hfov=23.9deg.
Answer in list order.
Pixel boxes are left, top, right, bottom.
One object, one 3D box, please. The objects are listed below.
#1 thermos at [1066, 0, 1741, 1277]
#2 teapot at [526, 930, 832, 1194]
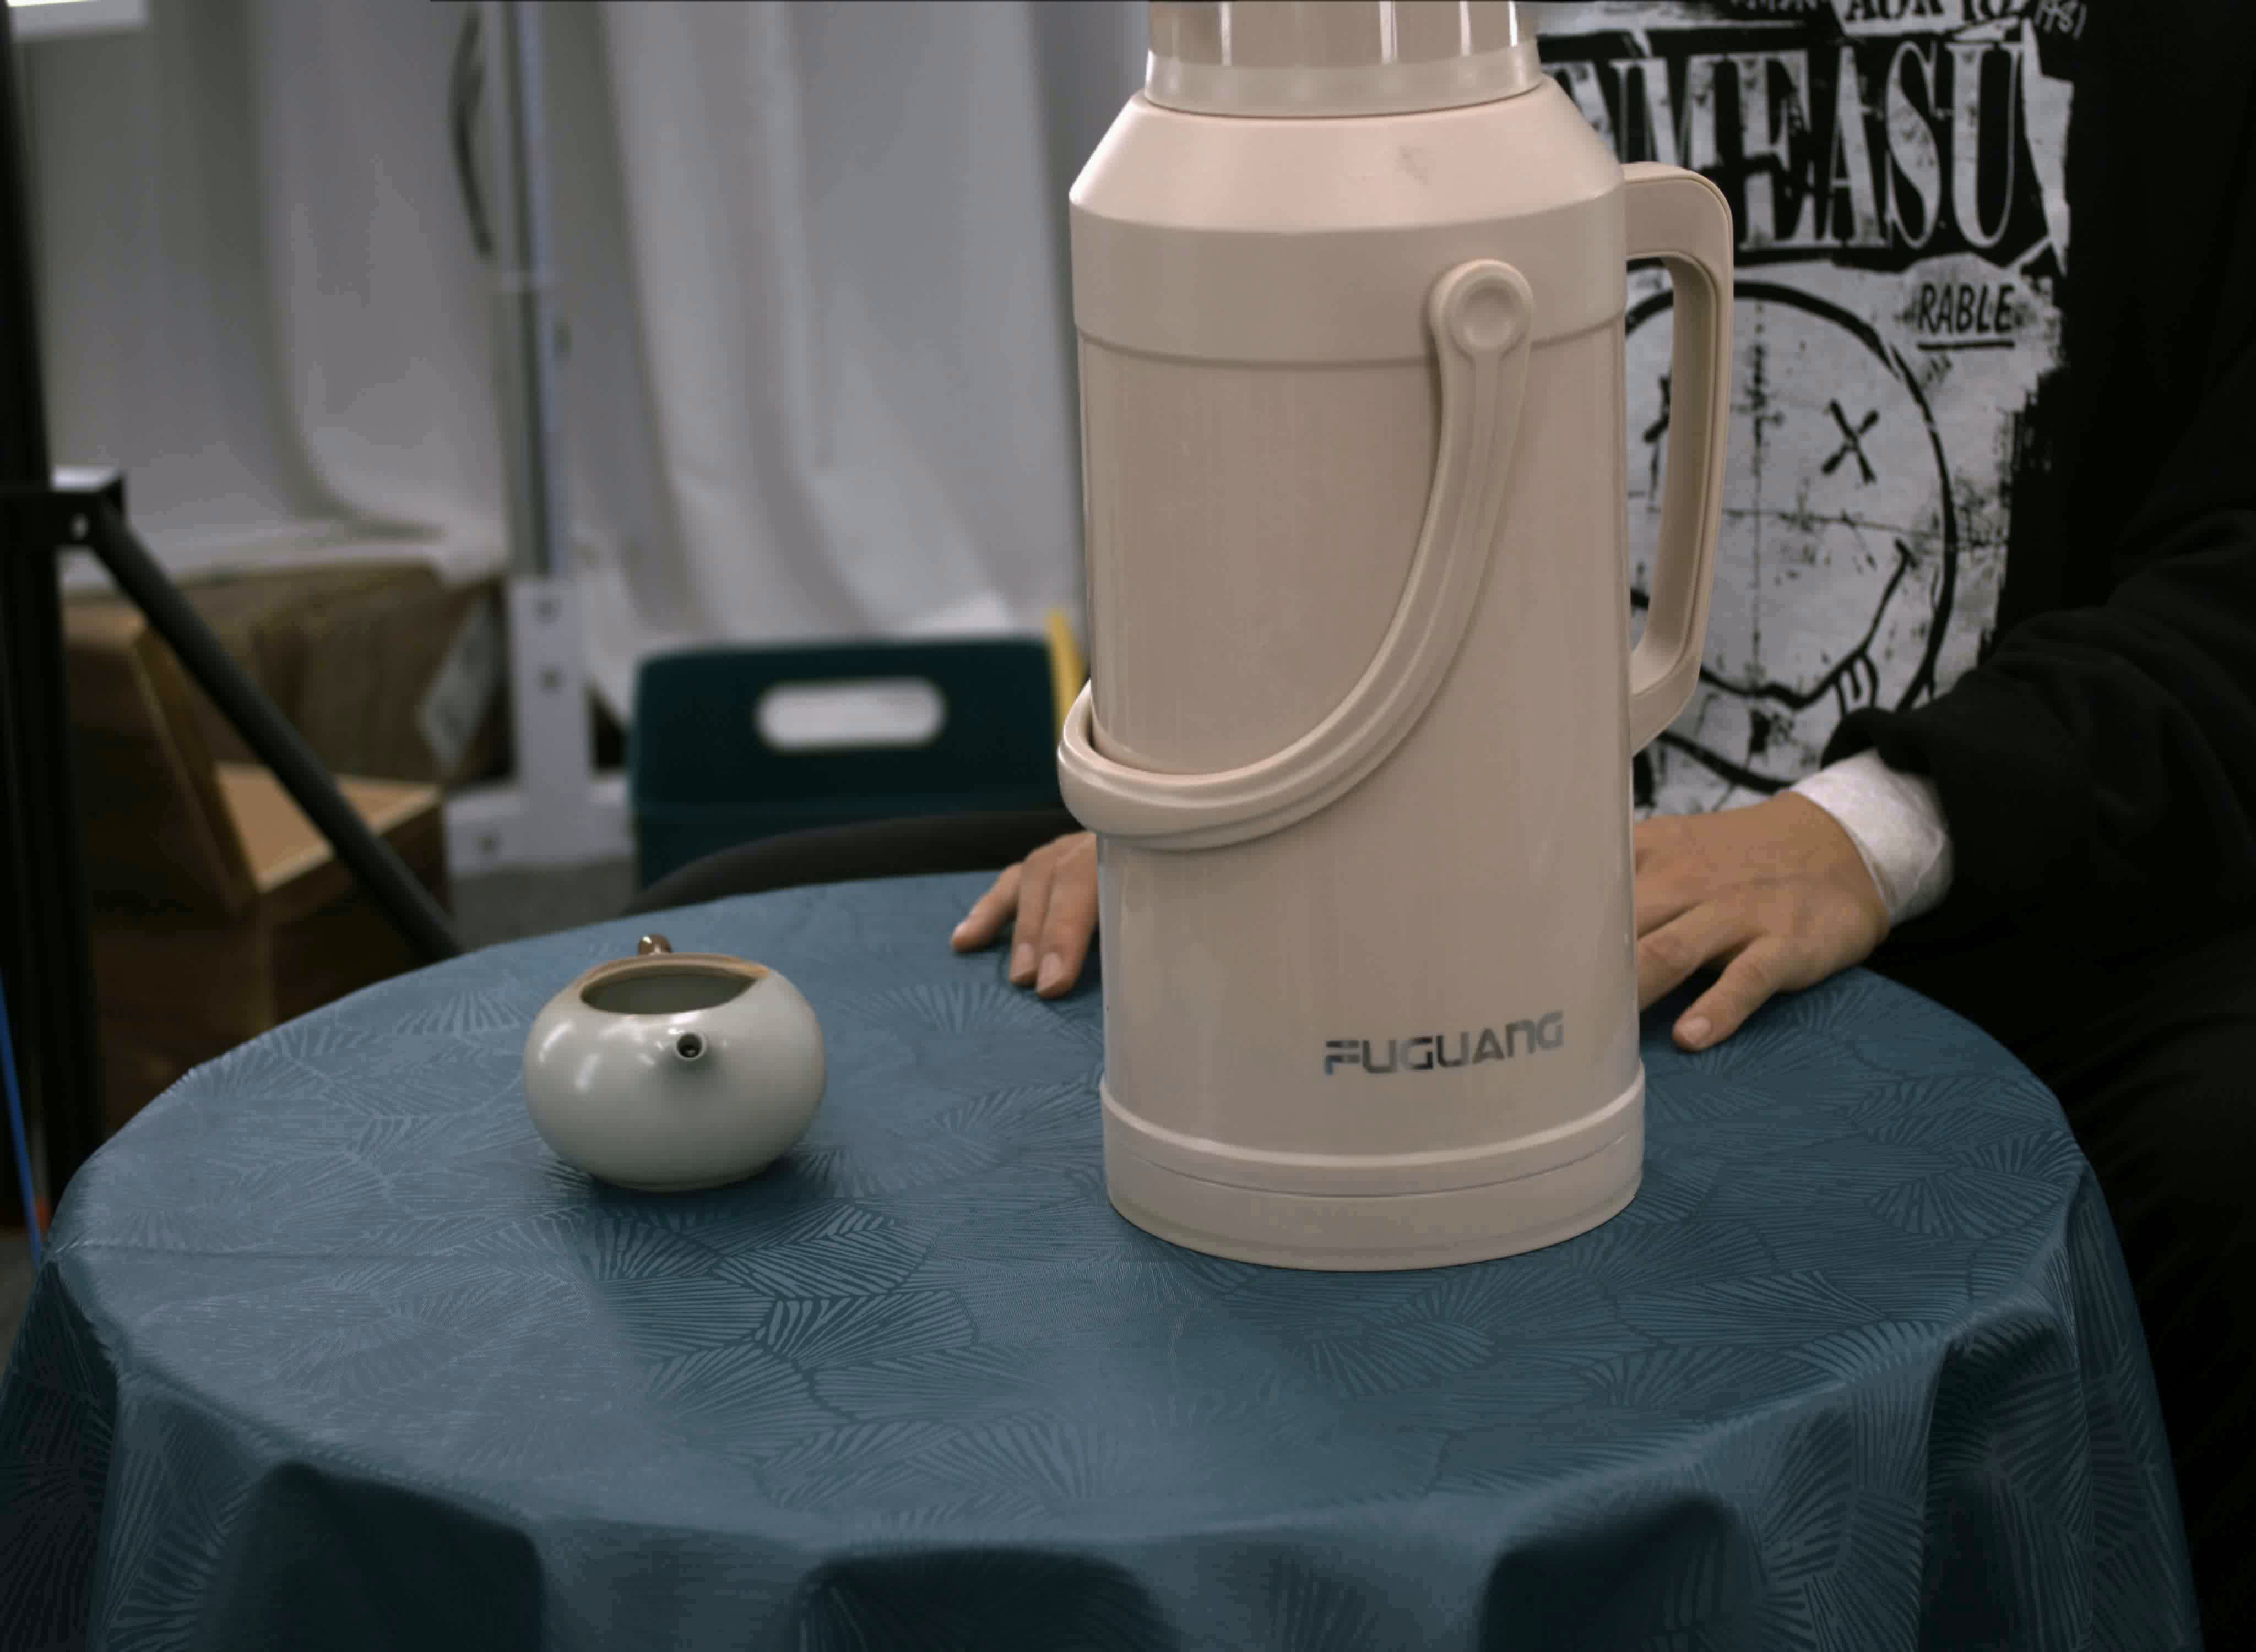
[{"bbox_3d":[0.081,-0.088,1.509,0.203,0.406,0.178,-9,15,-21],"label":"thermos"},{"bbox_3d":[-0.136,0.071,1.602,0.091,0.059,0.130,-9,18,-10],"label":"teapot"}]
